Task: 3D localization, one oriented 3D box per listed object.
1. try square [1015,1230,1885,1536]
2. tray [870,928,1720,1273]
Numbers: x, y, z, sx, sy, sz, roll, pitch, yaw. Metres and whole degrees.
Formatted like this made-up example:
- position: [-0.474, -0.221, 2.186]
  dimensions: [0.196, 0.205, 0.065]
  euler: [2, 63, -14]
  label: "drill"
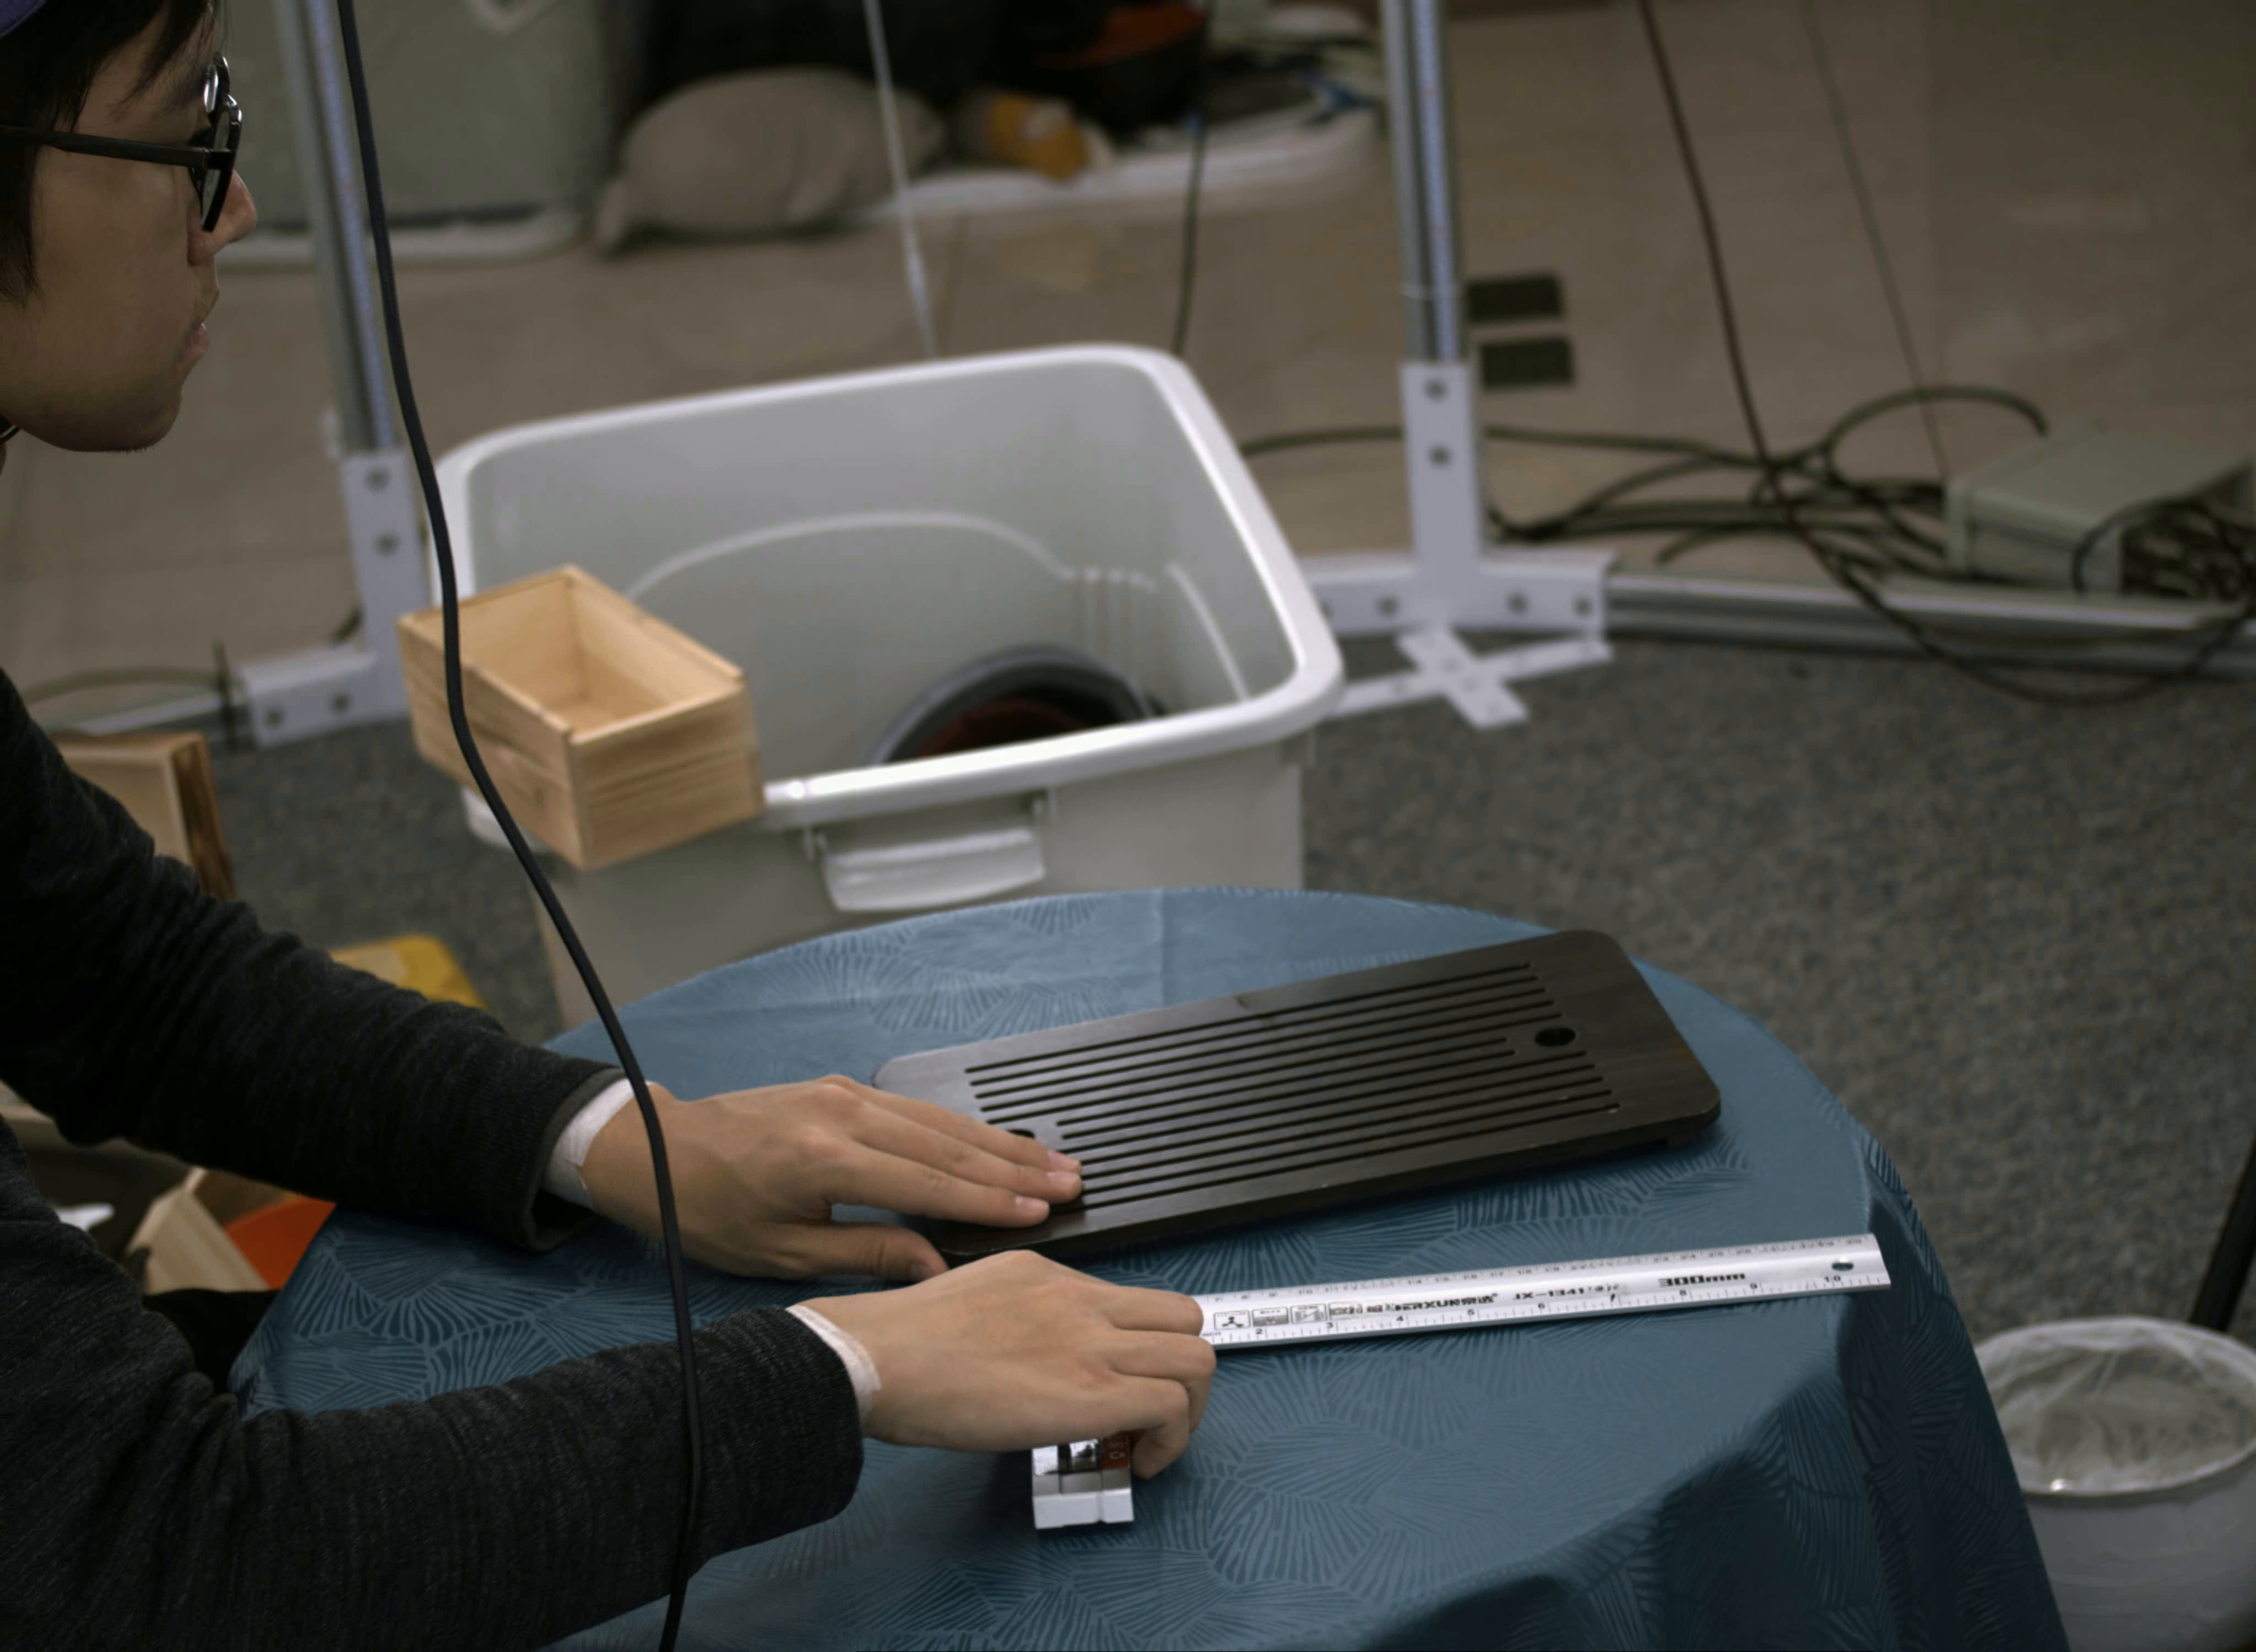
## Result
- position: [0.116, 0.192, 1.995]
  dimensions: [0.312, 0.016, 0.150]
  euler: [-6, 24, 0]
  label: "try square"
- position: [0.061, 0.105, 2.183]
  dimensions: [0.305, 0.019, 0.168]
  euler: [-10, 26, -8]
  label: "tray"
